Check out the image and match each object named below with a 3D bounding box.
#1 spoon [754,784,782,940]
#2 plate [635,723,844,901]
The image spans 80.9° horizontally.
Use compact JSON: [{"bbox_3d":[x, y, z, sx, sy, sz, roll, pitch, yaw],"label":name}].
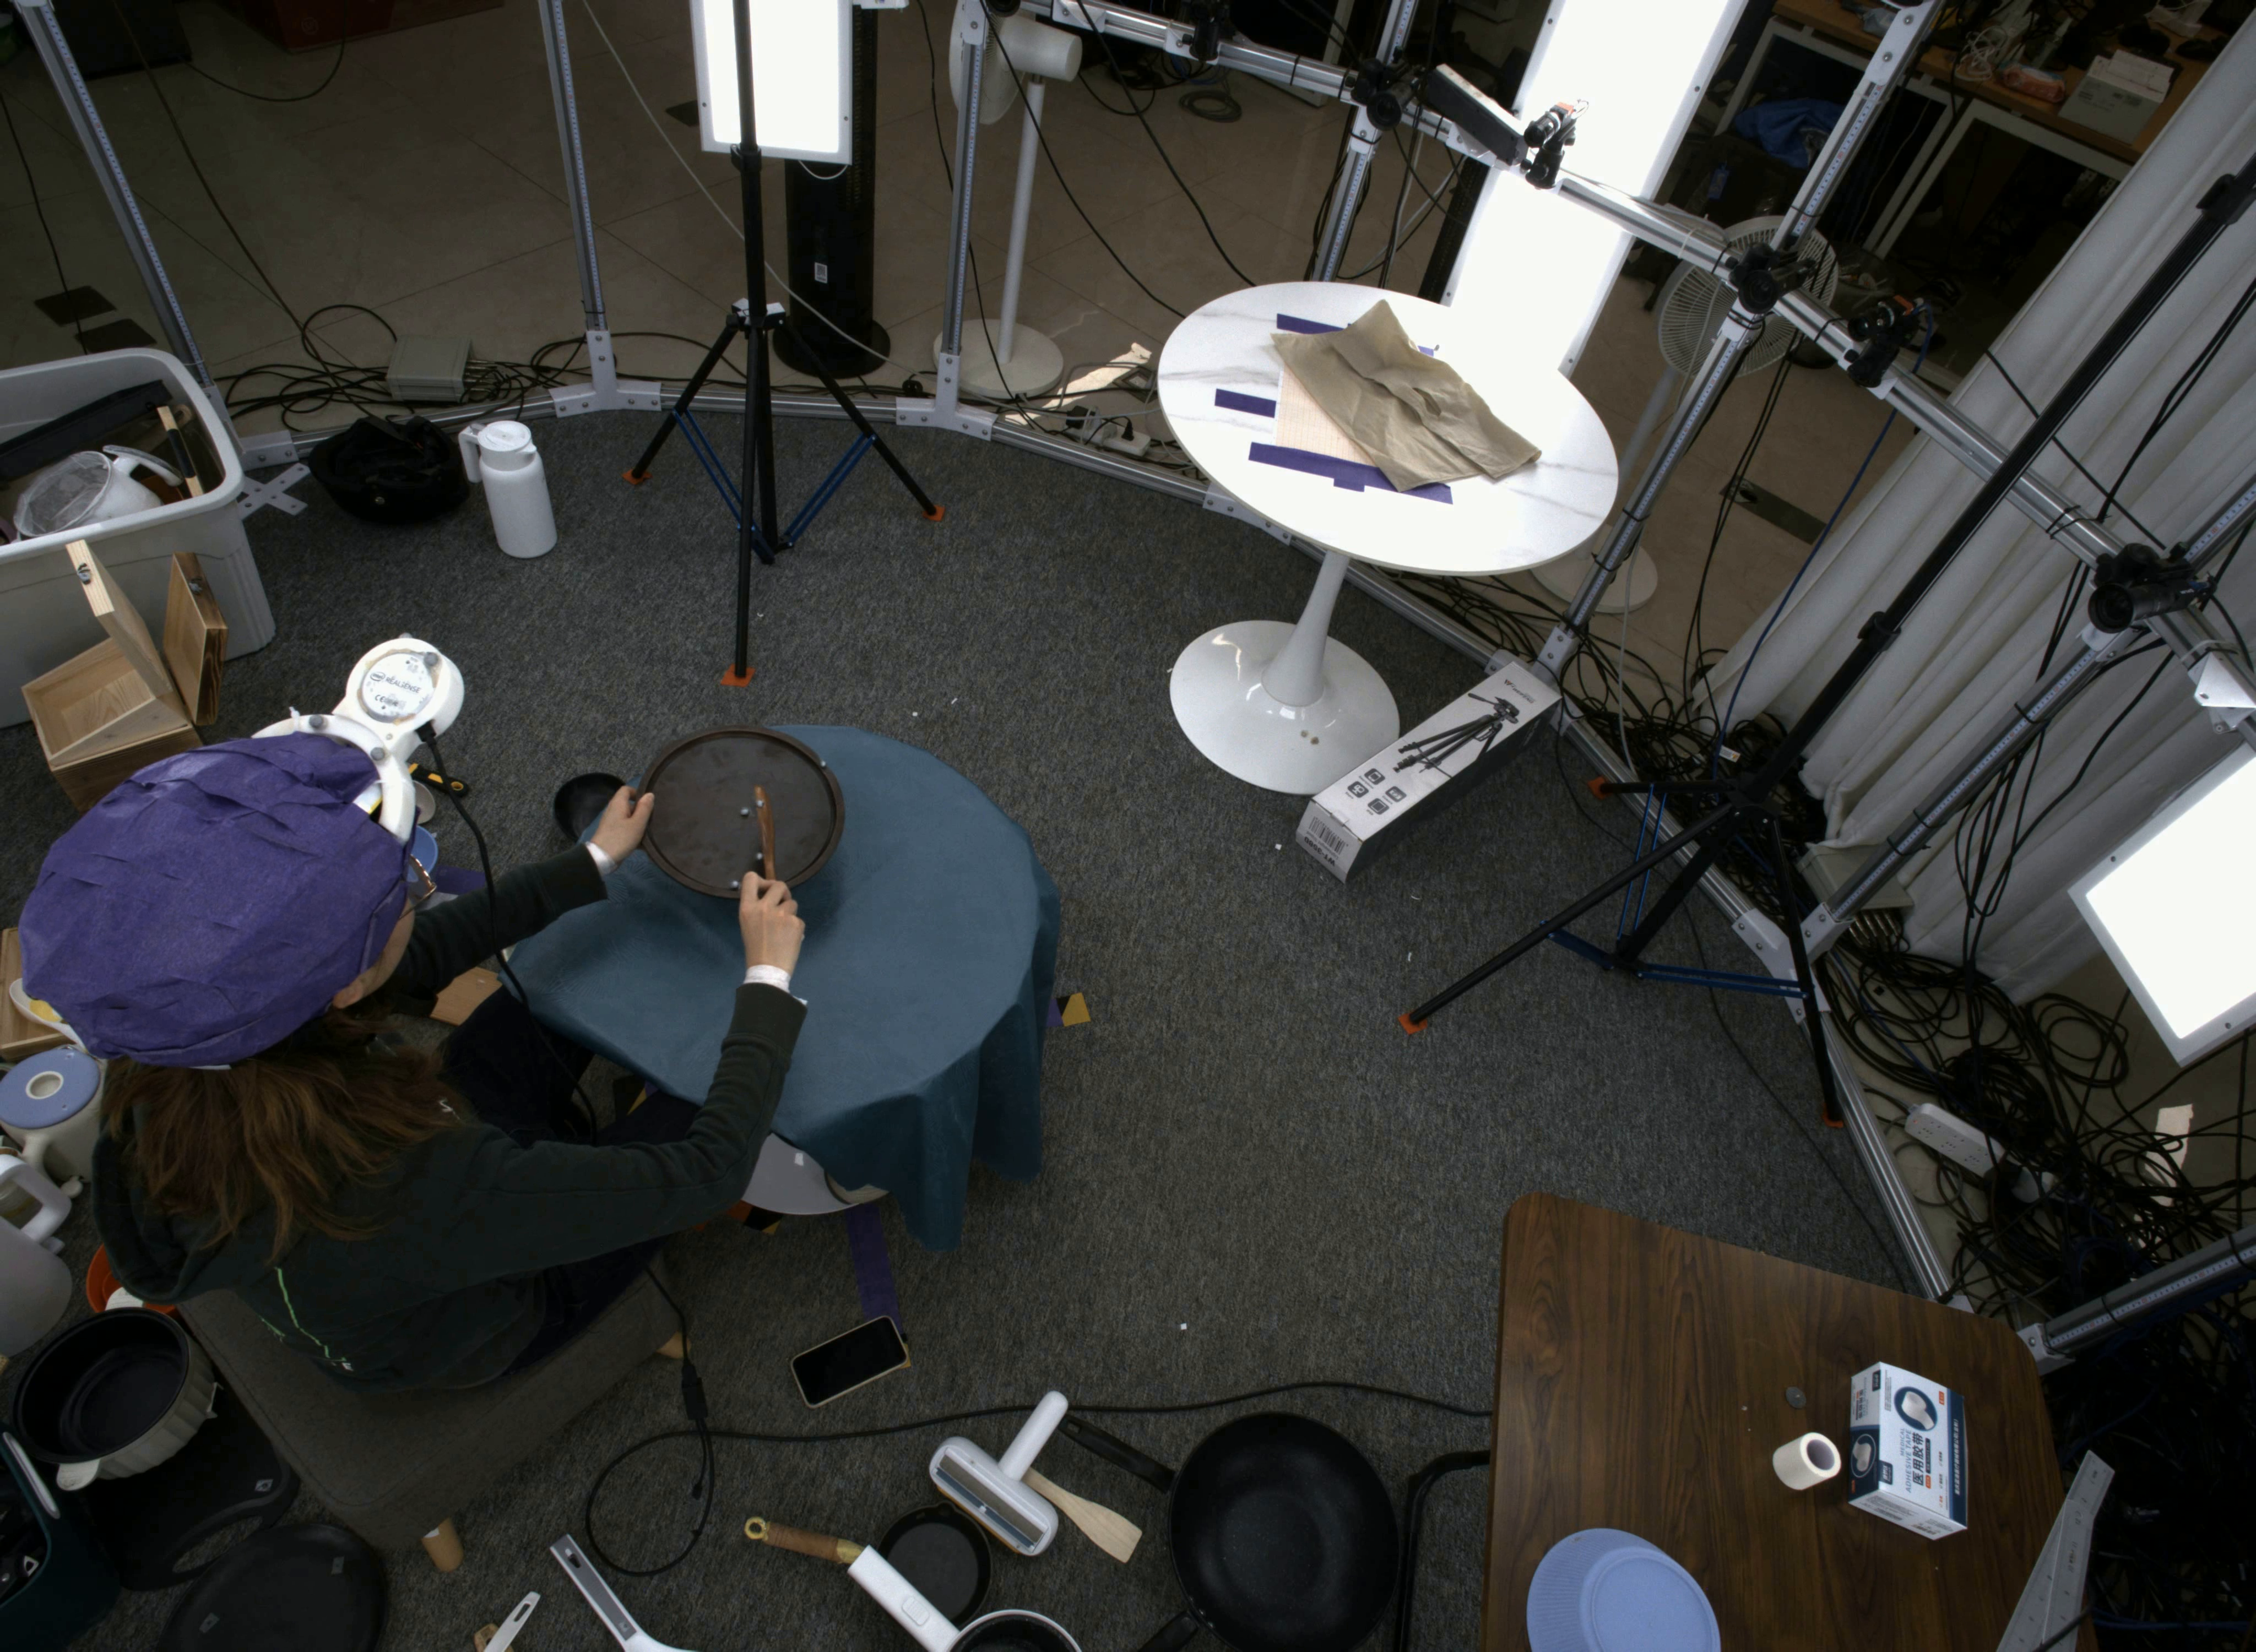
[{"bbox_3d":[-0.413,0.039,1.488,0.017,0.077,0.210,-8,53,-13],"label":"spoon"},{"bbox_3d":[-0.479,-0.019,1.598,0.256,0.029,0.251,10,57,-14],"label":"plate"}]
